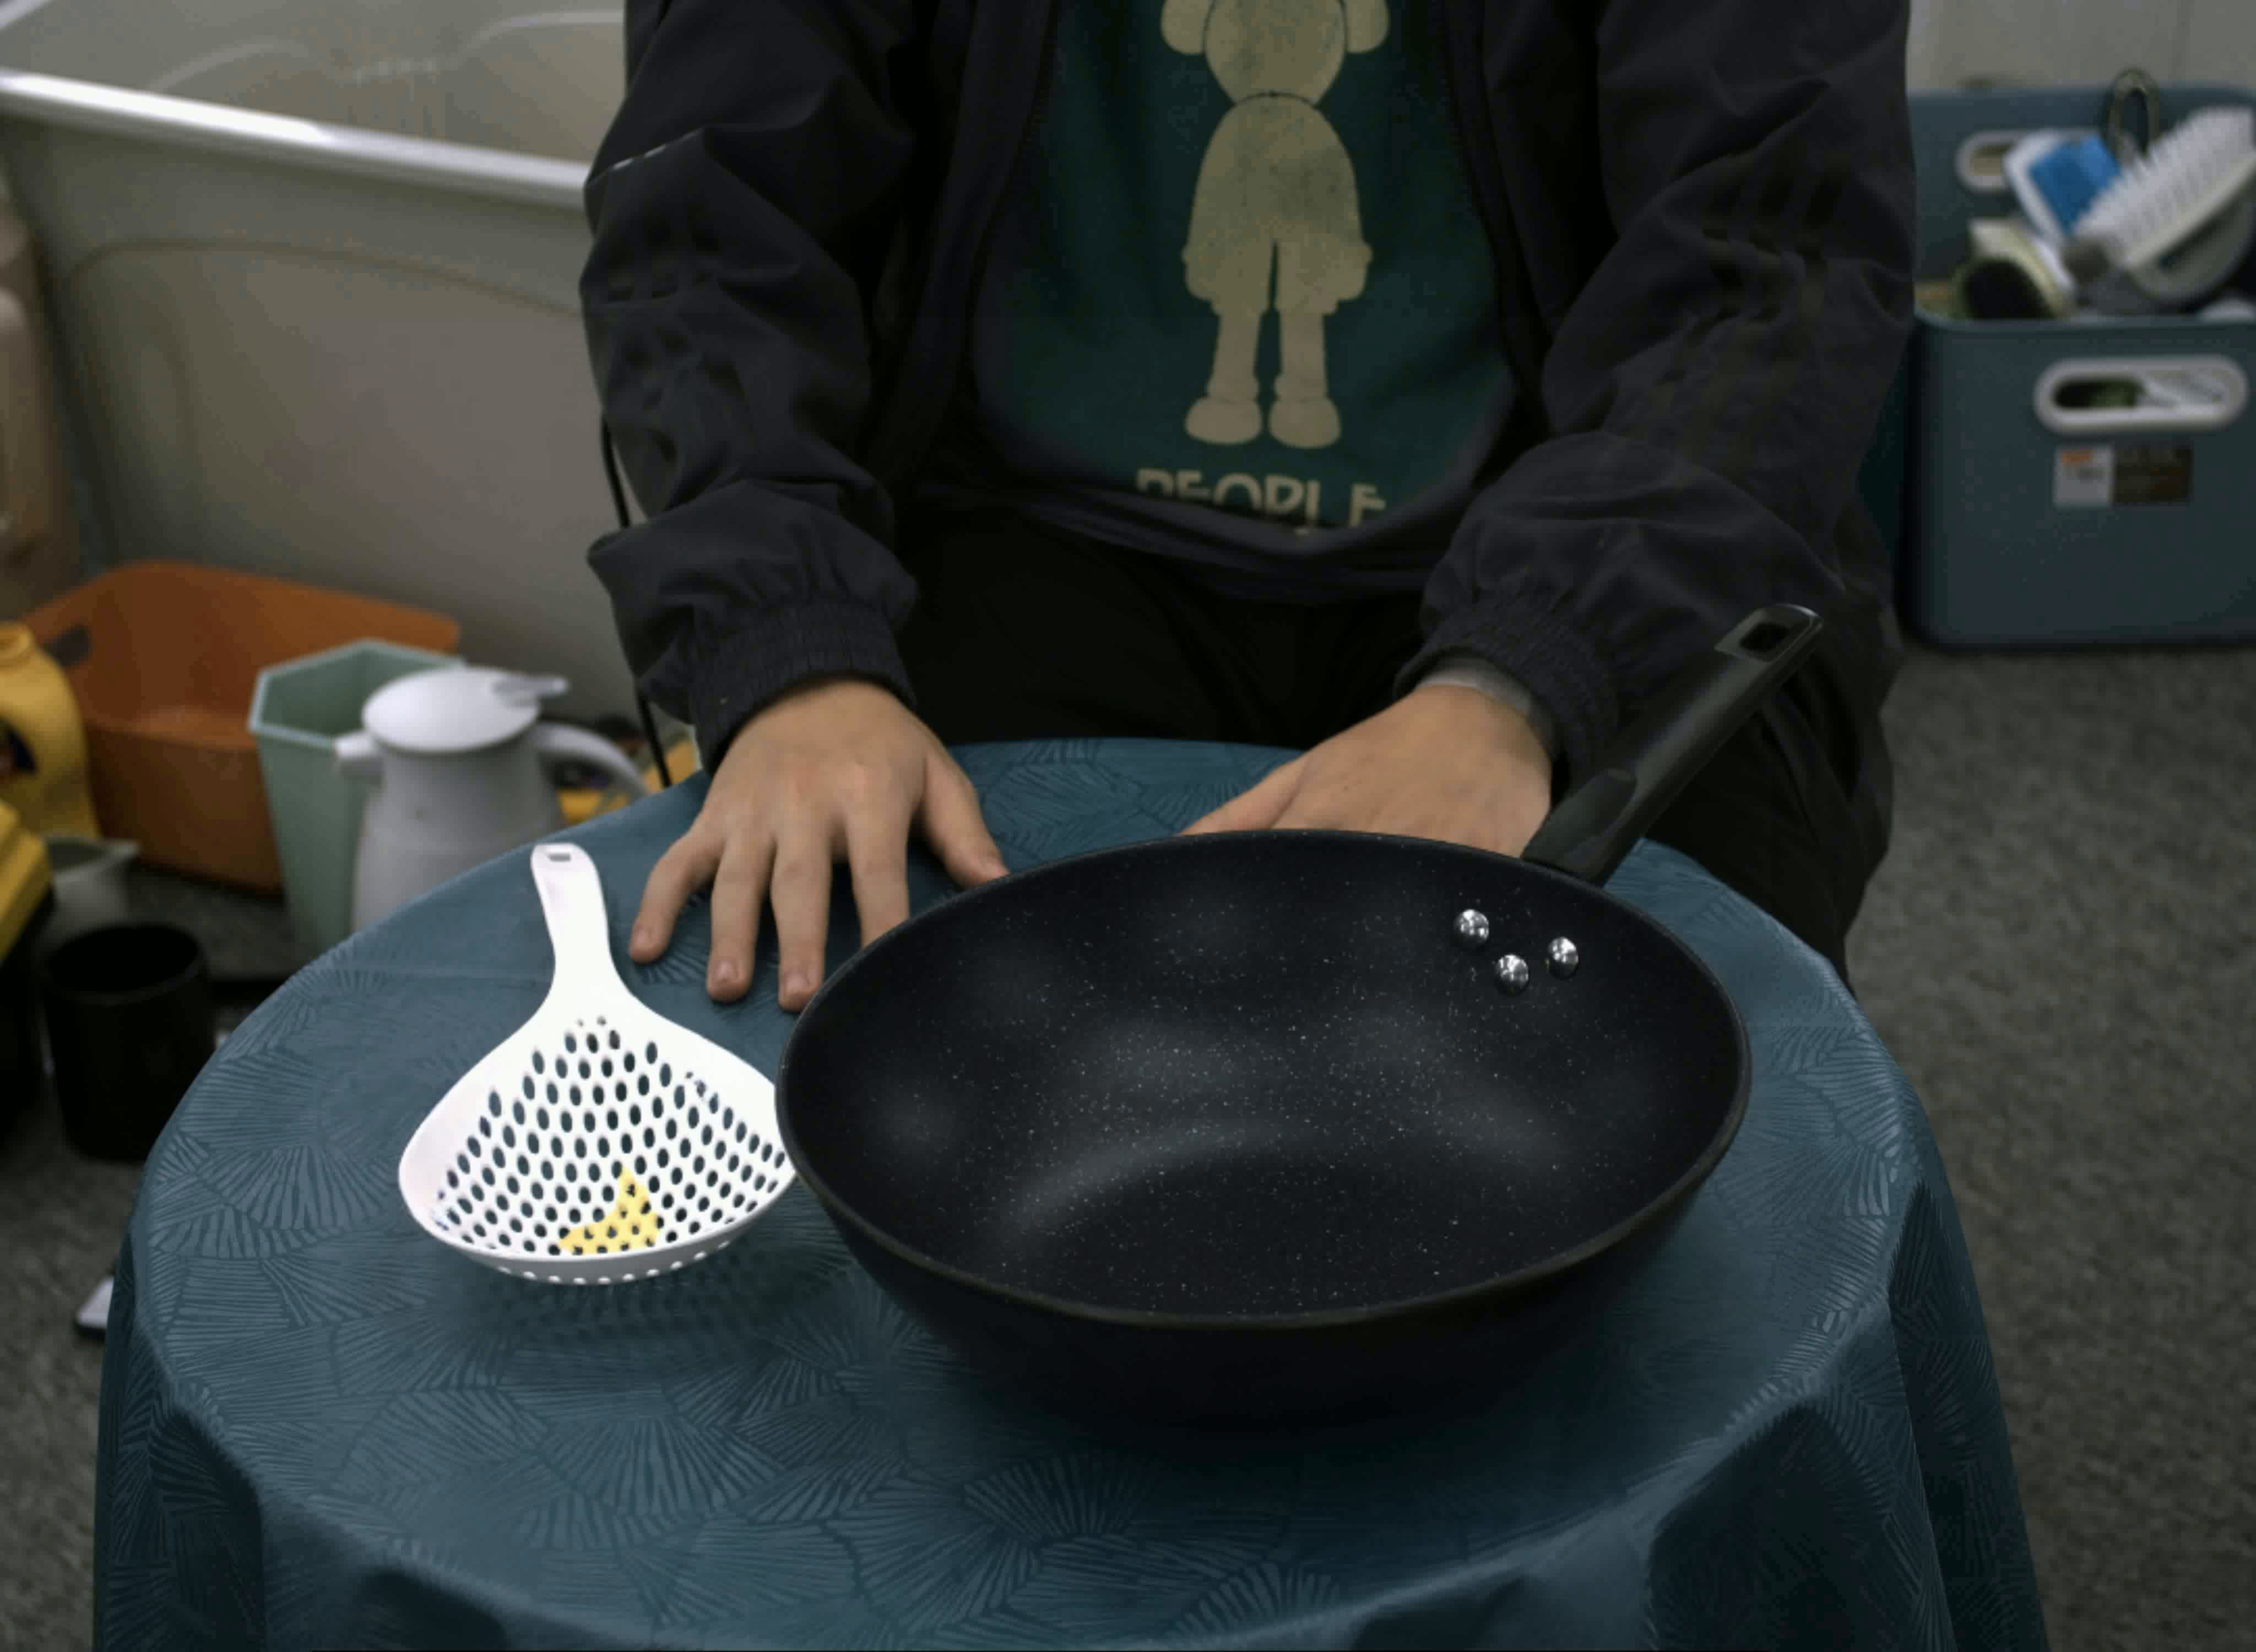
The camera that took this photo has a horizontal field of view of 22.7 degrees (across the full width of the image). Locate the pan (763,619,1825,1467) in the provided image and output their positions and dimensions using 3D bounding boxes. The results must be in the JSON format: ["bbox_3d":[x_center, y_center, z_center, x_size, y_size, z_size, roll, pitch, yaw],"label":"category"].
[{"bbox_3d":[0.091,0.071,1.834,0.309,0.110,0.484,18,34,33],"label":"pan"}]

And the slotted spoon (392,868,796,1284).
[{"bbox_3d":[-0.185,0.073,1.927,0.136,0.050,0.352,-8,27,-5],"label":"slotted spoon"}]
